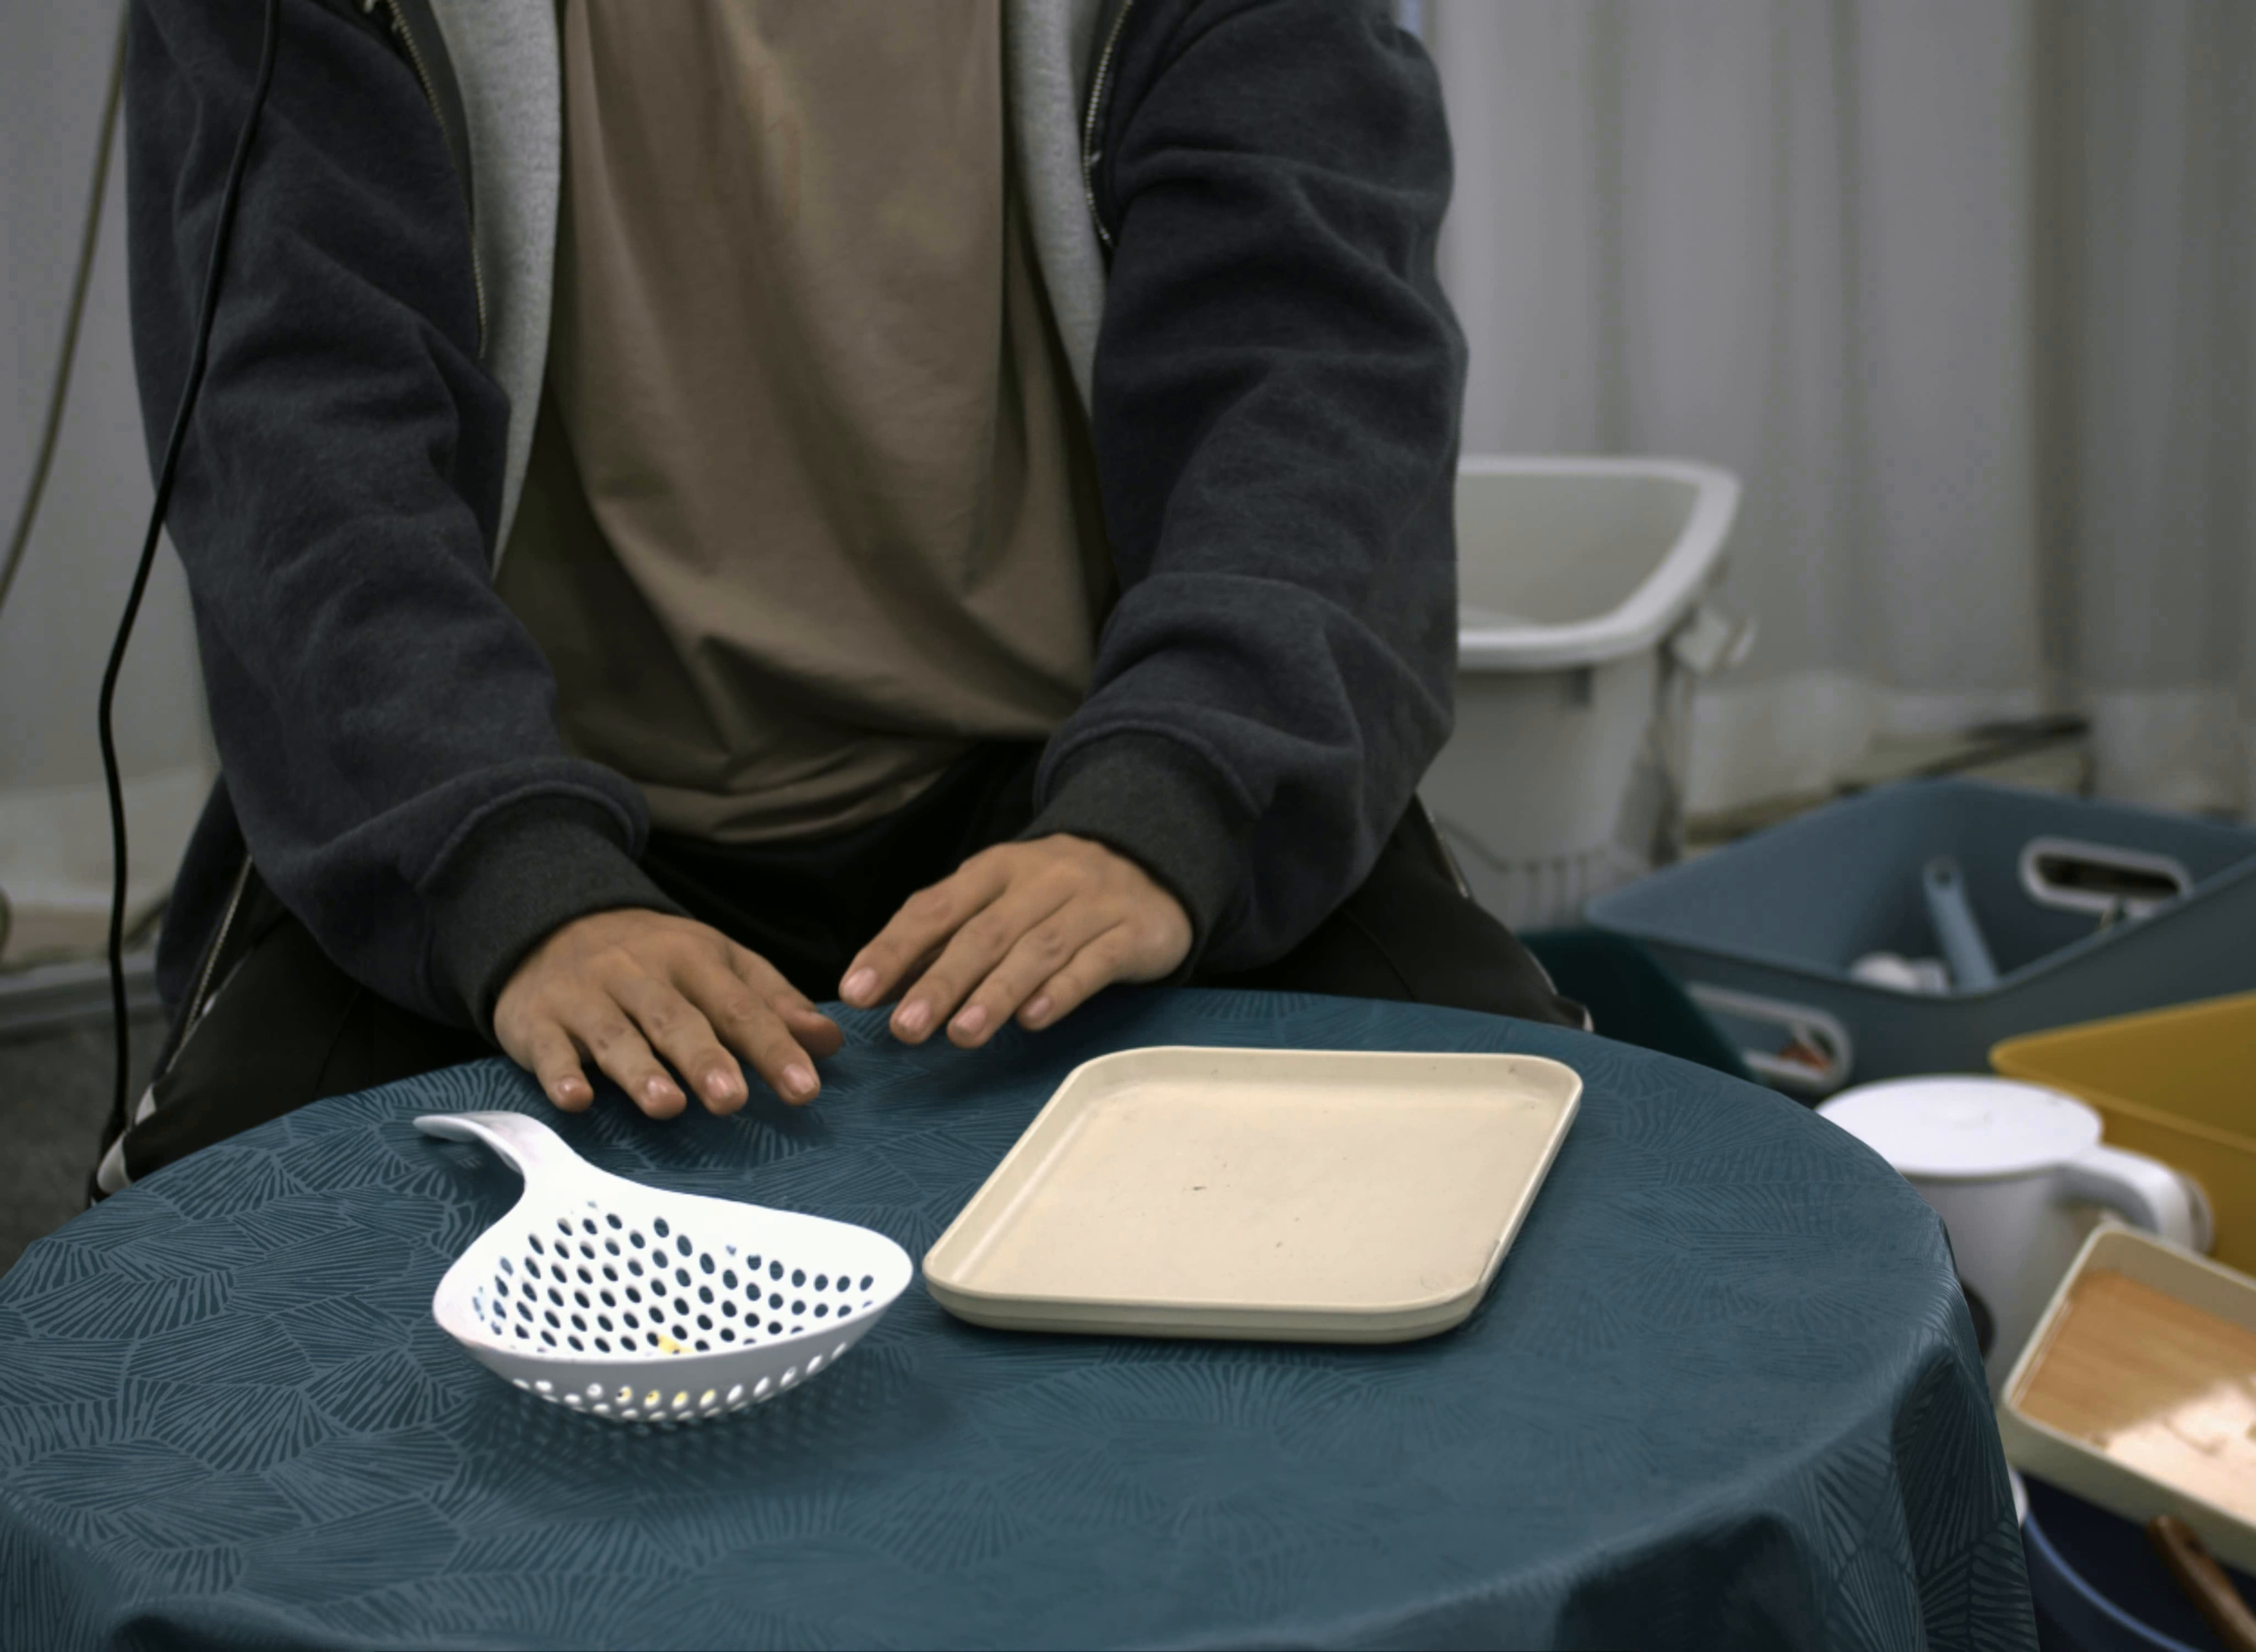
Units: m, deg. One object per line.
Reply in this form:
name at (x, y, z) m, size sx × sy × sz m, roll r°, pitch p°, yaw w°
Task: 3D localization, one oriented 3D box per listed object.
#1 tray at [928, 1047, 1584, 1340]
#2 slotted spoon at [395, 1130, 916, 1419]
tray at (0.044, 0.112, 1.683) m, size 0.171 × 0.017 × 0.241 m, roll 0°, pitch 15°, yaw 14°
slotted spoon at (-0.167, 0.121, 1.648) m, size 0.136 × 0.050 × 0.350 m, roll -12°, pitch 17°, yaw -19°
